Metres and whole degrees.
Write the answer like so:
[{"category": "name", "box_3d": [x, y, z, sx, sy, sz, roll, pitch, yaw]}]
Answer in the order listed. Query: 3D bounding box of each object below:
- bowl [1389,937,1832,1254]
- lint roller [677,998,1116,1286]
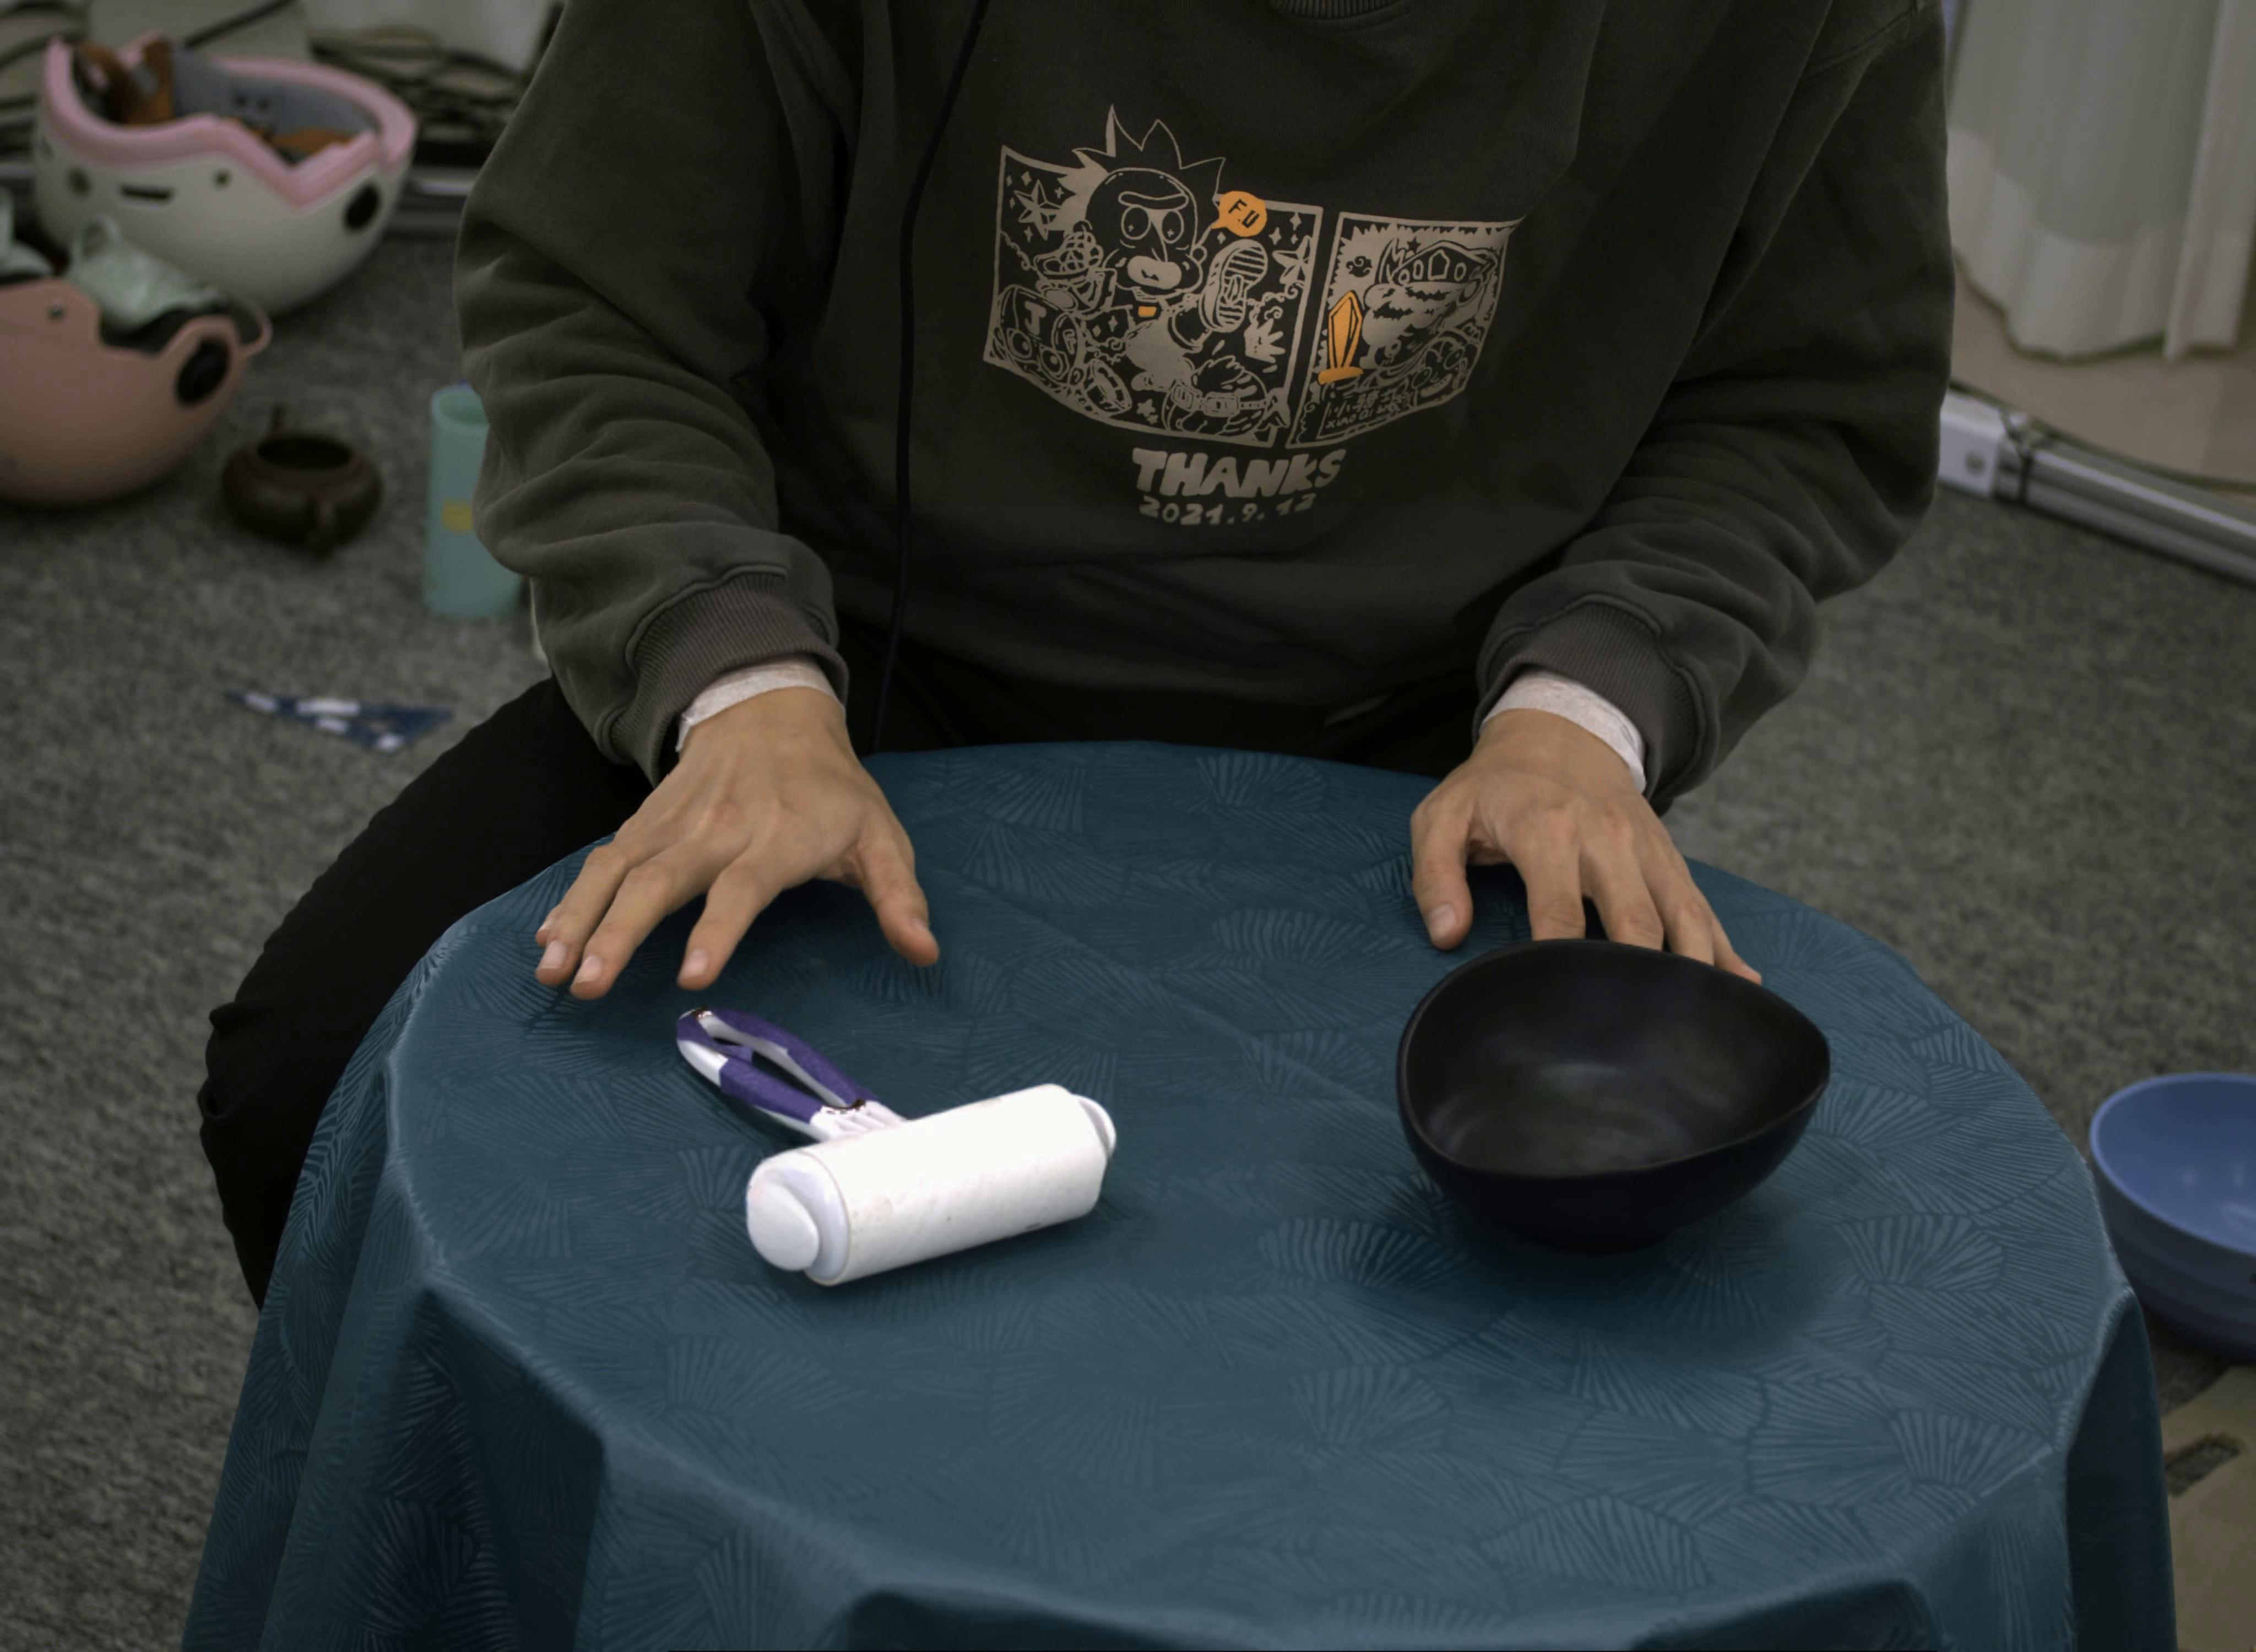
[{"category": "bowl", "box_3d": [0.162, 0.102, 1.814, 0.138, 0.066, 0.169, 24, 33, 34]}, {"category": "lint roller", "box_3d": [-0.098, 0.088, 1.798, 0.132, 0.050, 0.182, -12, 34, -31]}]
